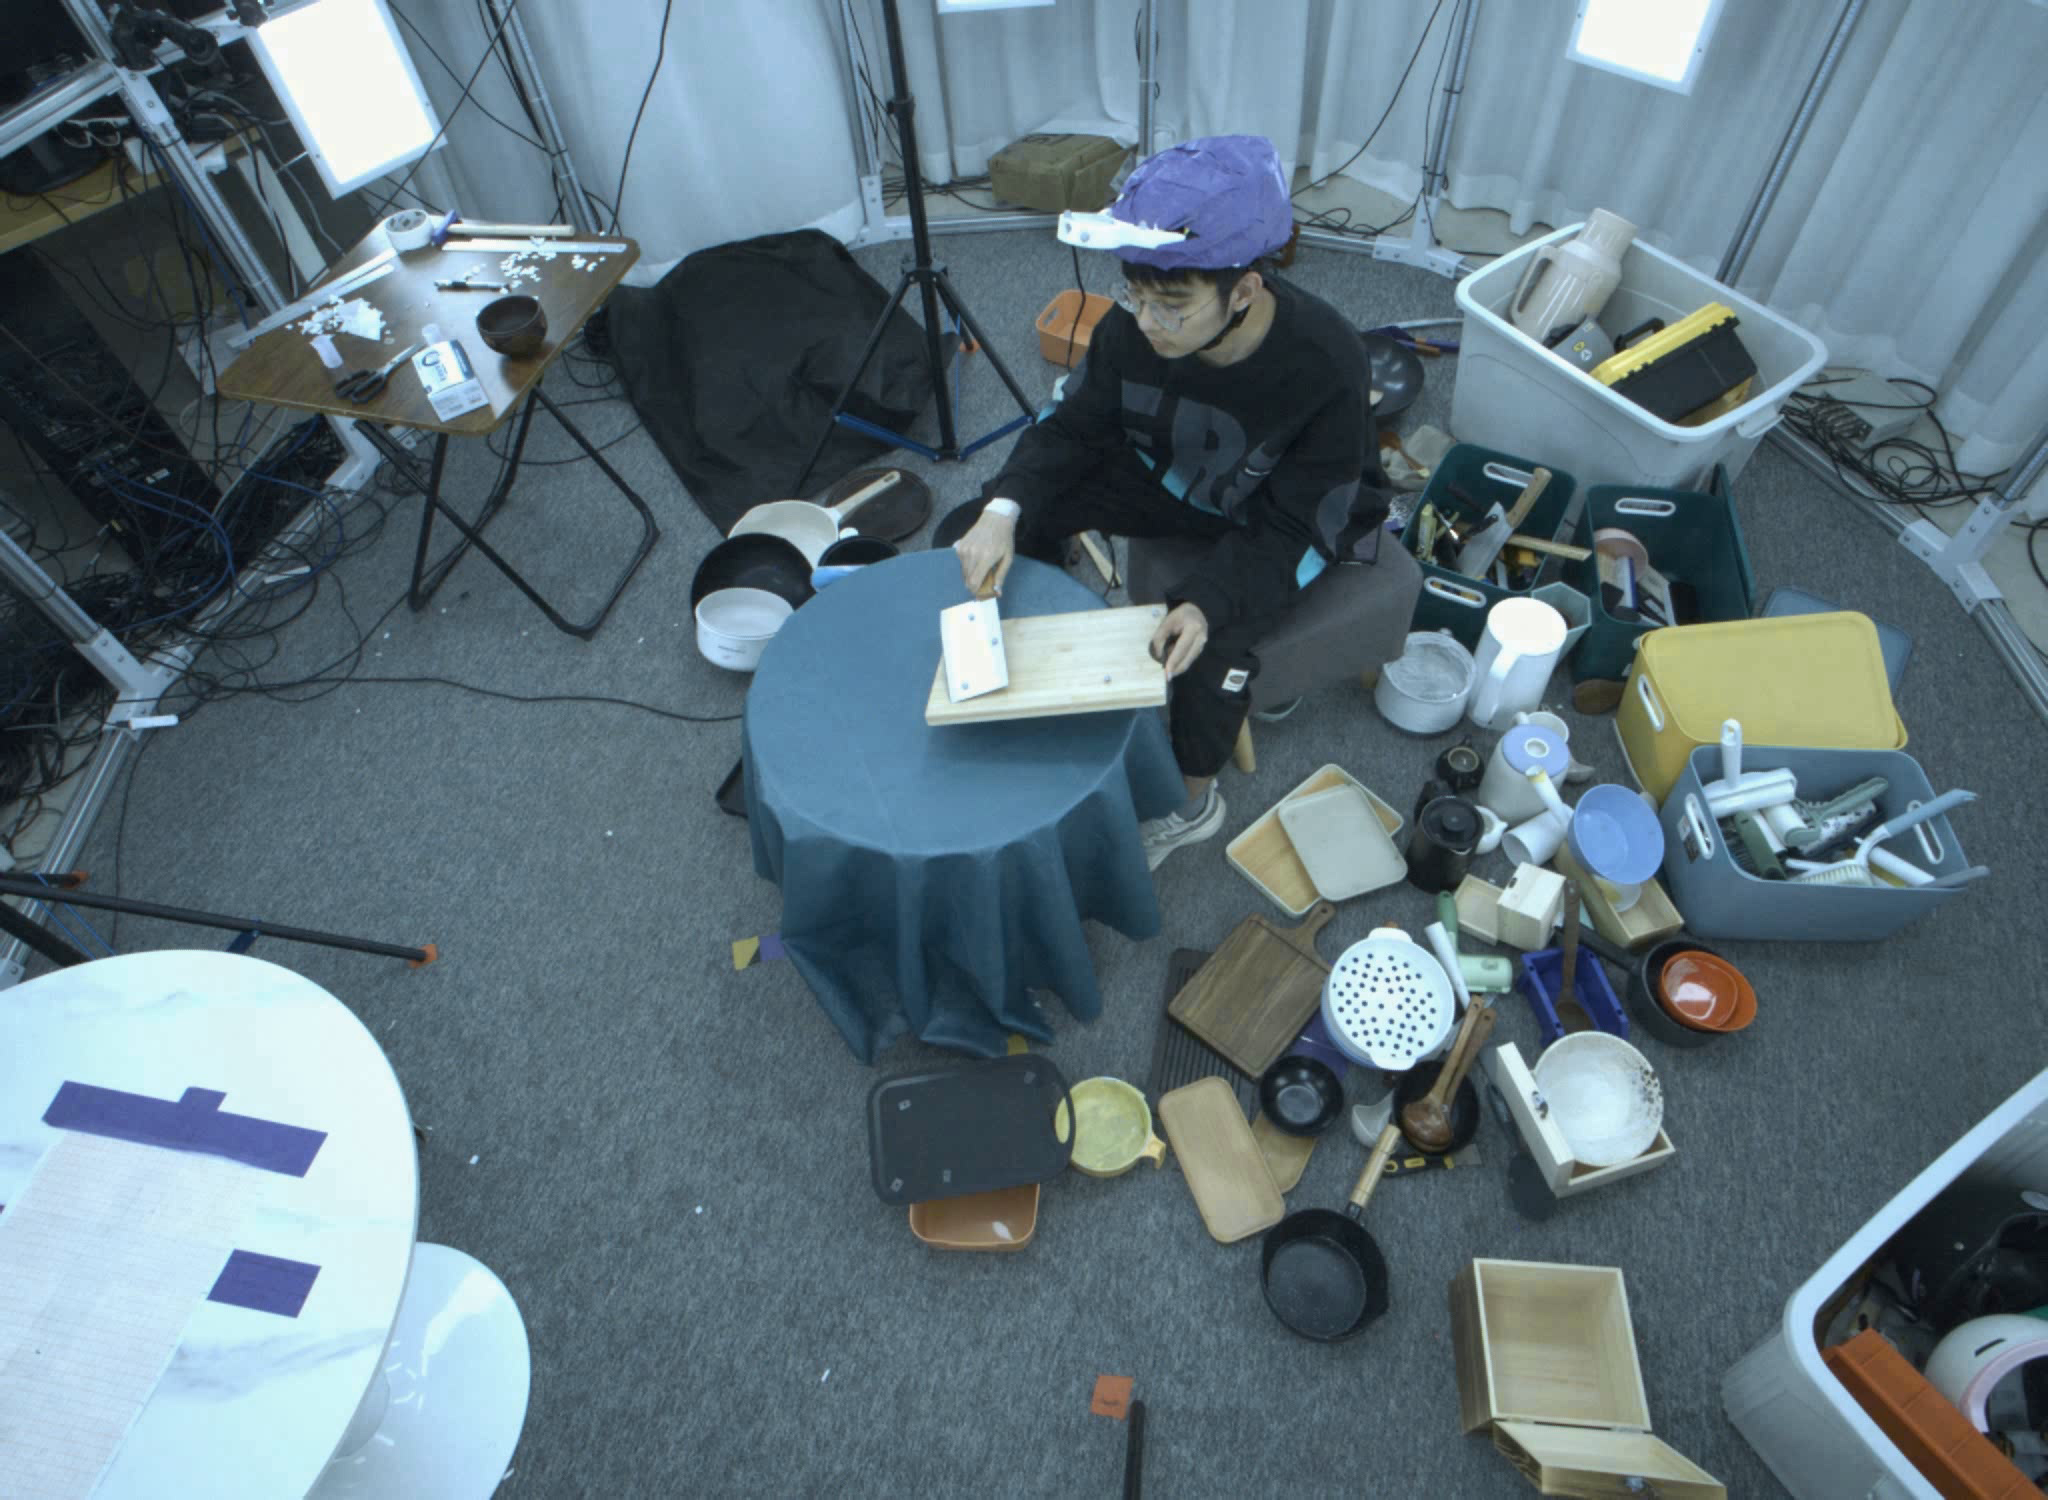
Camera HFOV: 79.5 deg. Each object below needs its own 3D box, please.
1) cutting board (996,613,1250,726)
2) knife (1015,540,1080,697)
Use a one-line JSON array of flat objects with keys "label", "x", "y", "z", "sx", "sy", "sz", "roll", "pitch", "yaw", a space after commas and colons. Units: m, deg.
[{"label": "cutting board", "x": 0.149, "y": -0.120, "z": 1.787, "sx": 0.346, "sy": 0.024, "sz": 0.249, "roll": -2, "pitch": 38, "yaw": 12}, {"label": "knife", "x": 0.031, "y": -0.197, "z": 1.823, "sx": 0.092, "sy": 0.021, "sz": 0.302, "roll": -14, "pitch": 50, "yaw": 13}]
